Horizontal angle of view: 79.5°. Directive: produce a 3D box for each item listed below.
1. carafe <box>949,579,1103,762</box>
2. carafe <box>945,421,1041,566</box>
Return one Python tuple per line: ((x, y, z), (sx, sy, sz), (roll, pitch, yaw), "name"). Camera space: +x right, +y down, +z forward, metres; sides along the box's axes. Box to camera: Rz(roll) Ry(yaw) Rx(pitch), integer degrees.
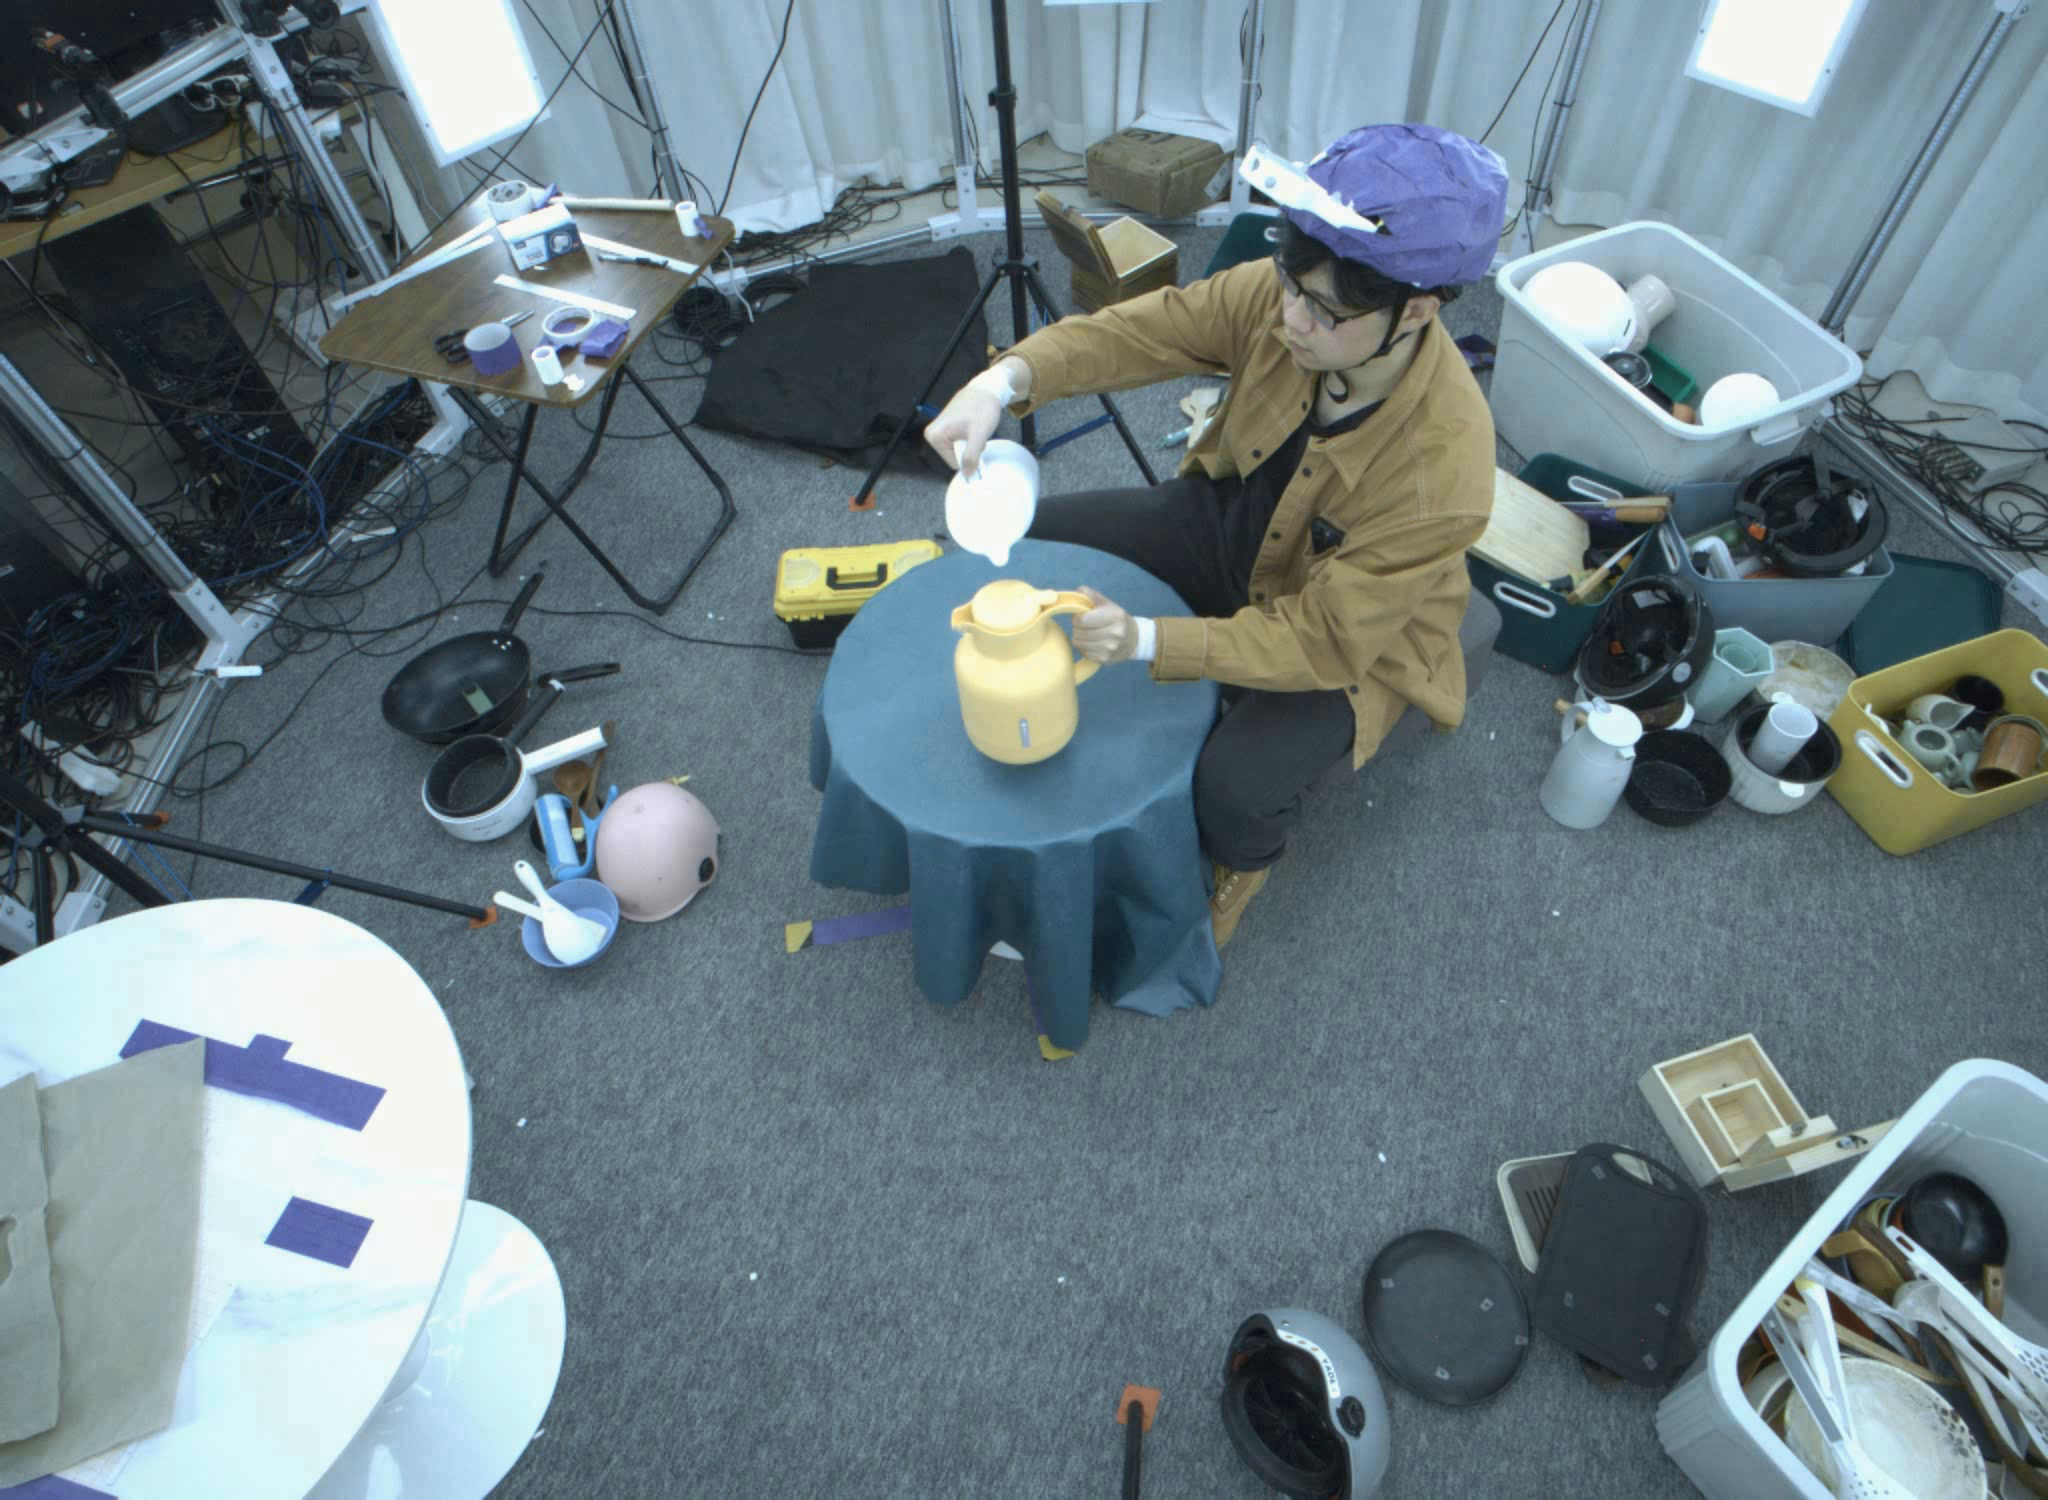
((0.007, -0.114, 1.654), (0.202, 0.264, 0.161), (-9, 54, 1), "carafe")
((-0.048, -0.357, 1.632), (0.123, 0.175, 0.267), (-13, 22, 11), "carafe")
